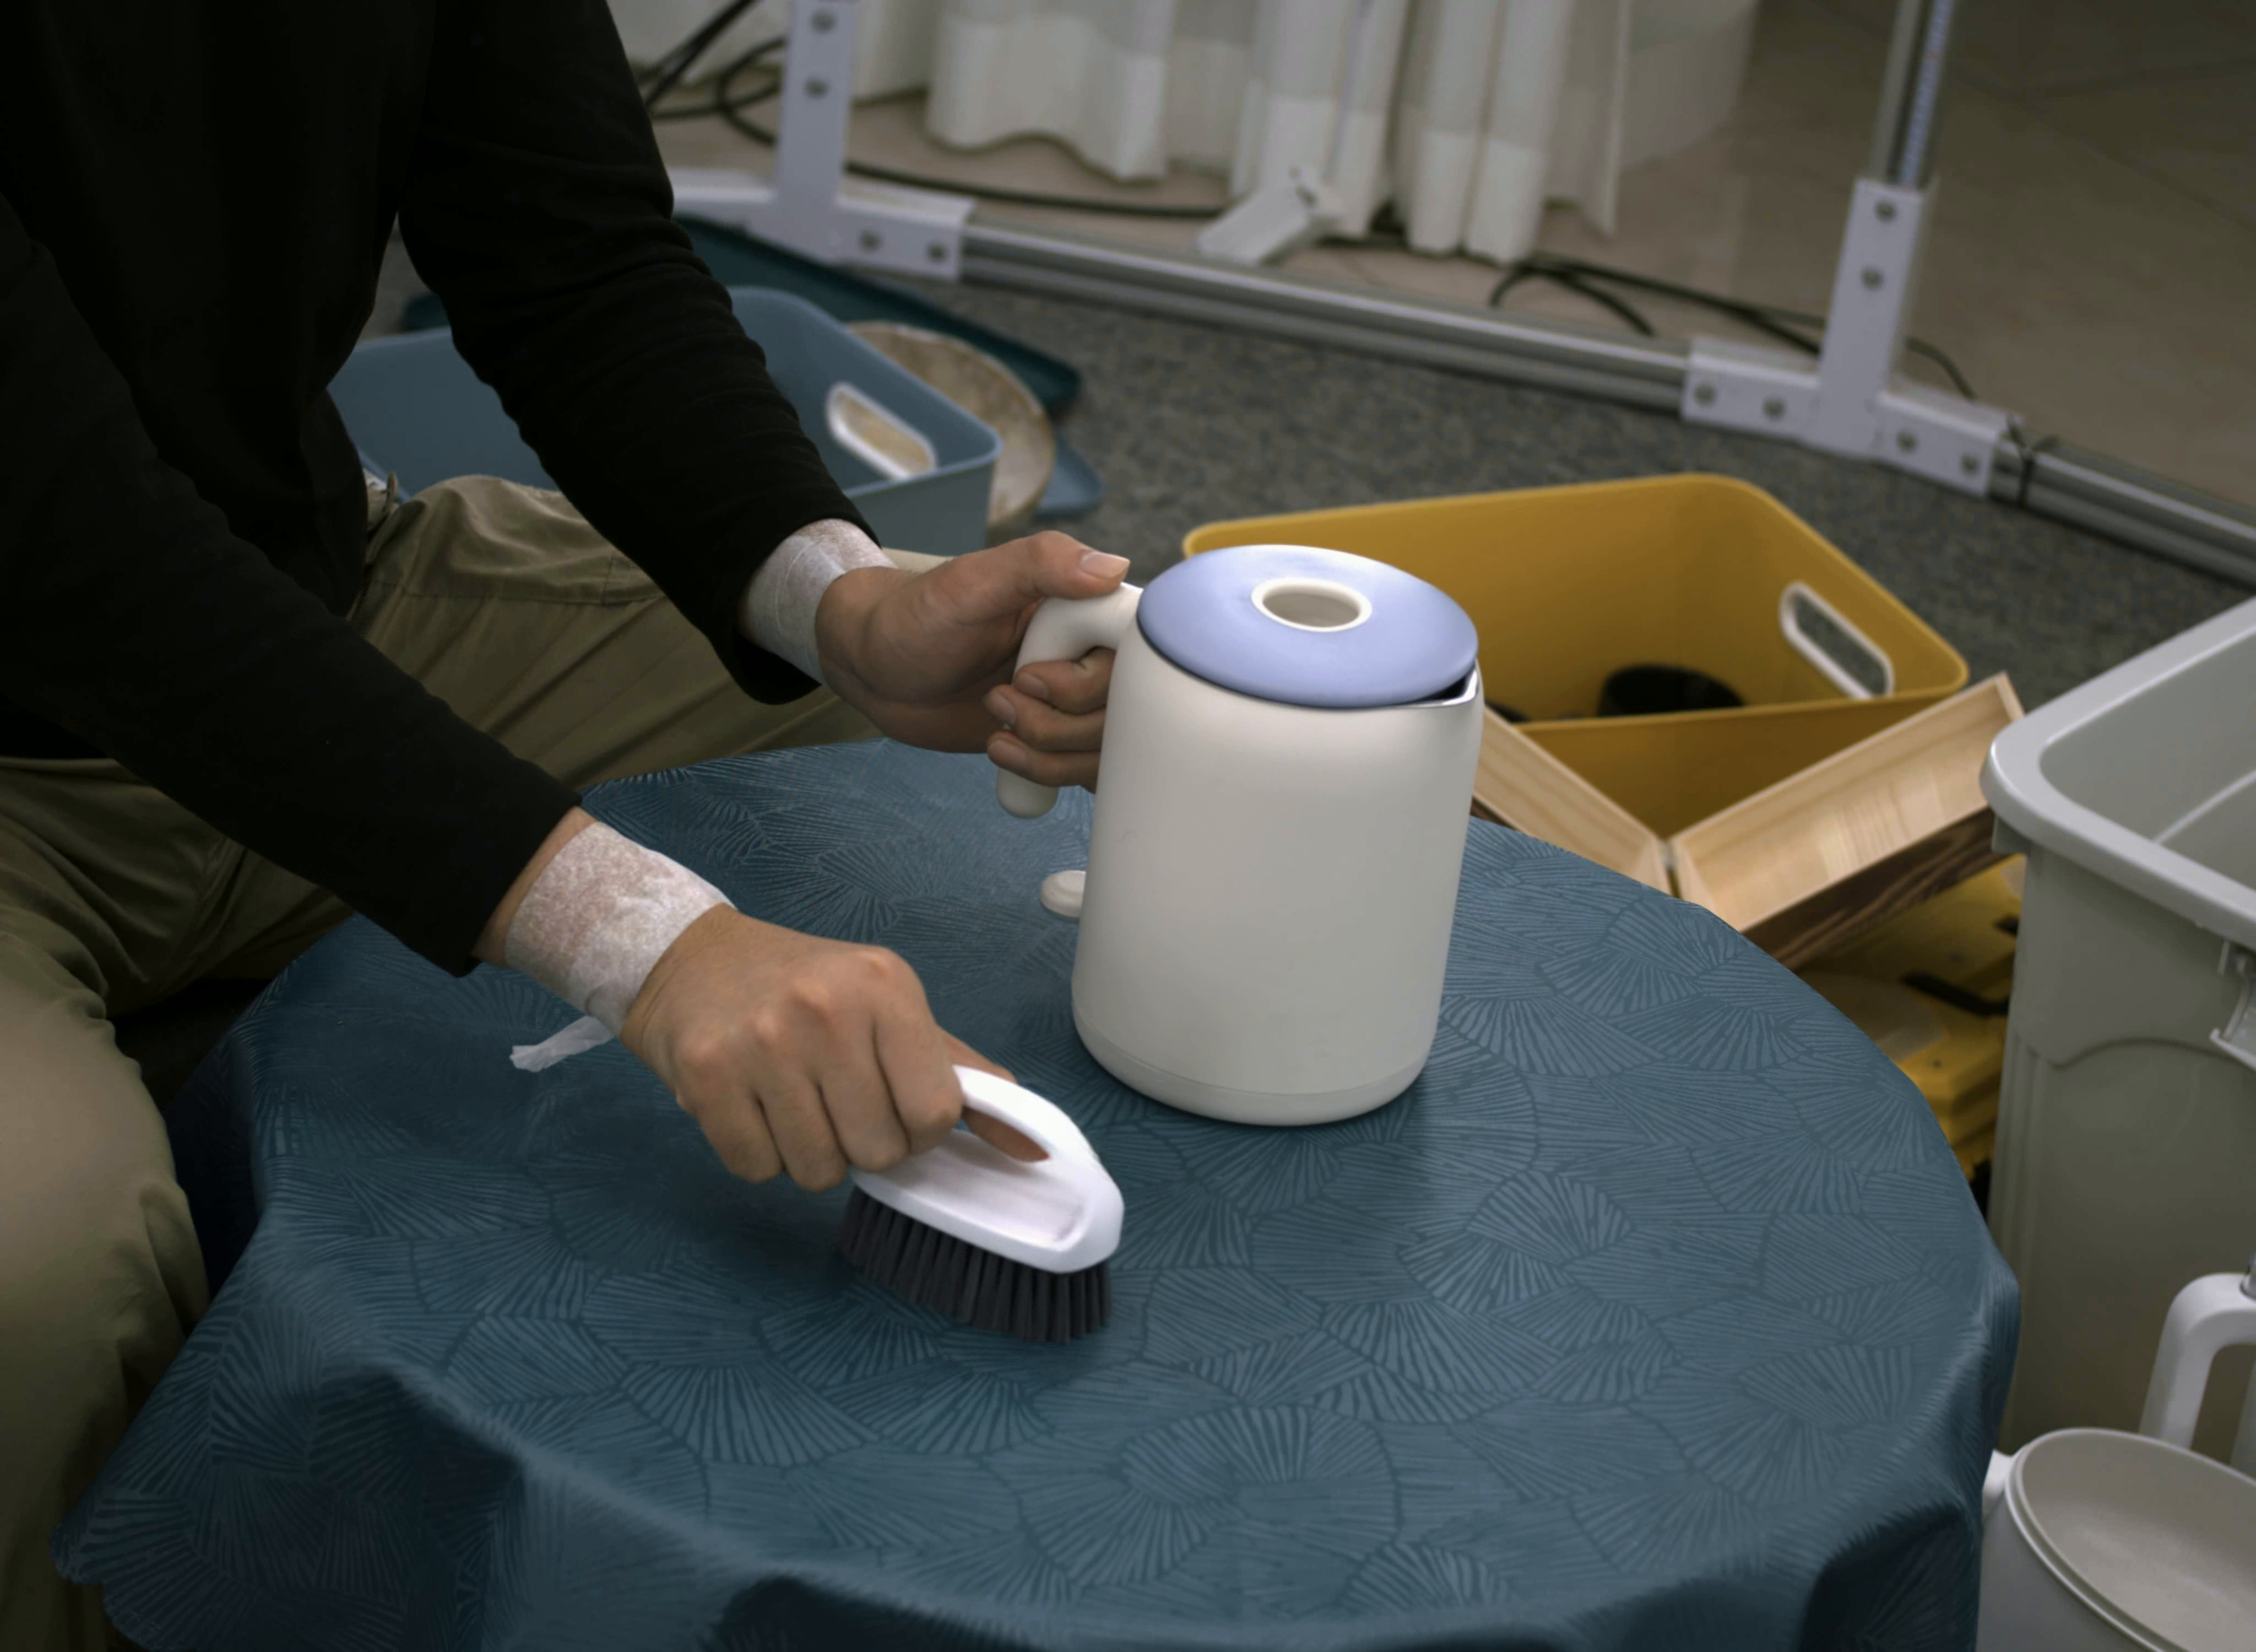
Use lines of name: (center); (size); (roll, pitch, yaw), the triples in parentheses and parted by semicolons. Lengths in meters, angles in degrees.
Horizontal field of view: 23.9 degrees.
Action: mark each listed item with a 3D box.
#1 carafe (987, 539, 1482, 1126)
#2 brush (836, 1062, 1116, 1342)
carafe: (0.032, -0.006, 1.876); (0.192, 0.182, 0.132); (21, 30, 29)
brush: (-0.048, 0.115, 1.726); (0.100, 0.072, 0.050); (23, 31, 29)
